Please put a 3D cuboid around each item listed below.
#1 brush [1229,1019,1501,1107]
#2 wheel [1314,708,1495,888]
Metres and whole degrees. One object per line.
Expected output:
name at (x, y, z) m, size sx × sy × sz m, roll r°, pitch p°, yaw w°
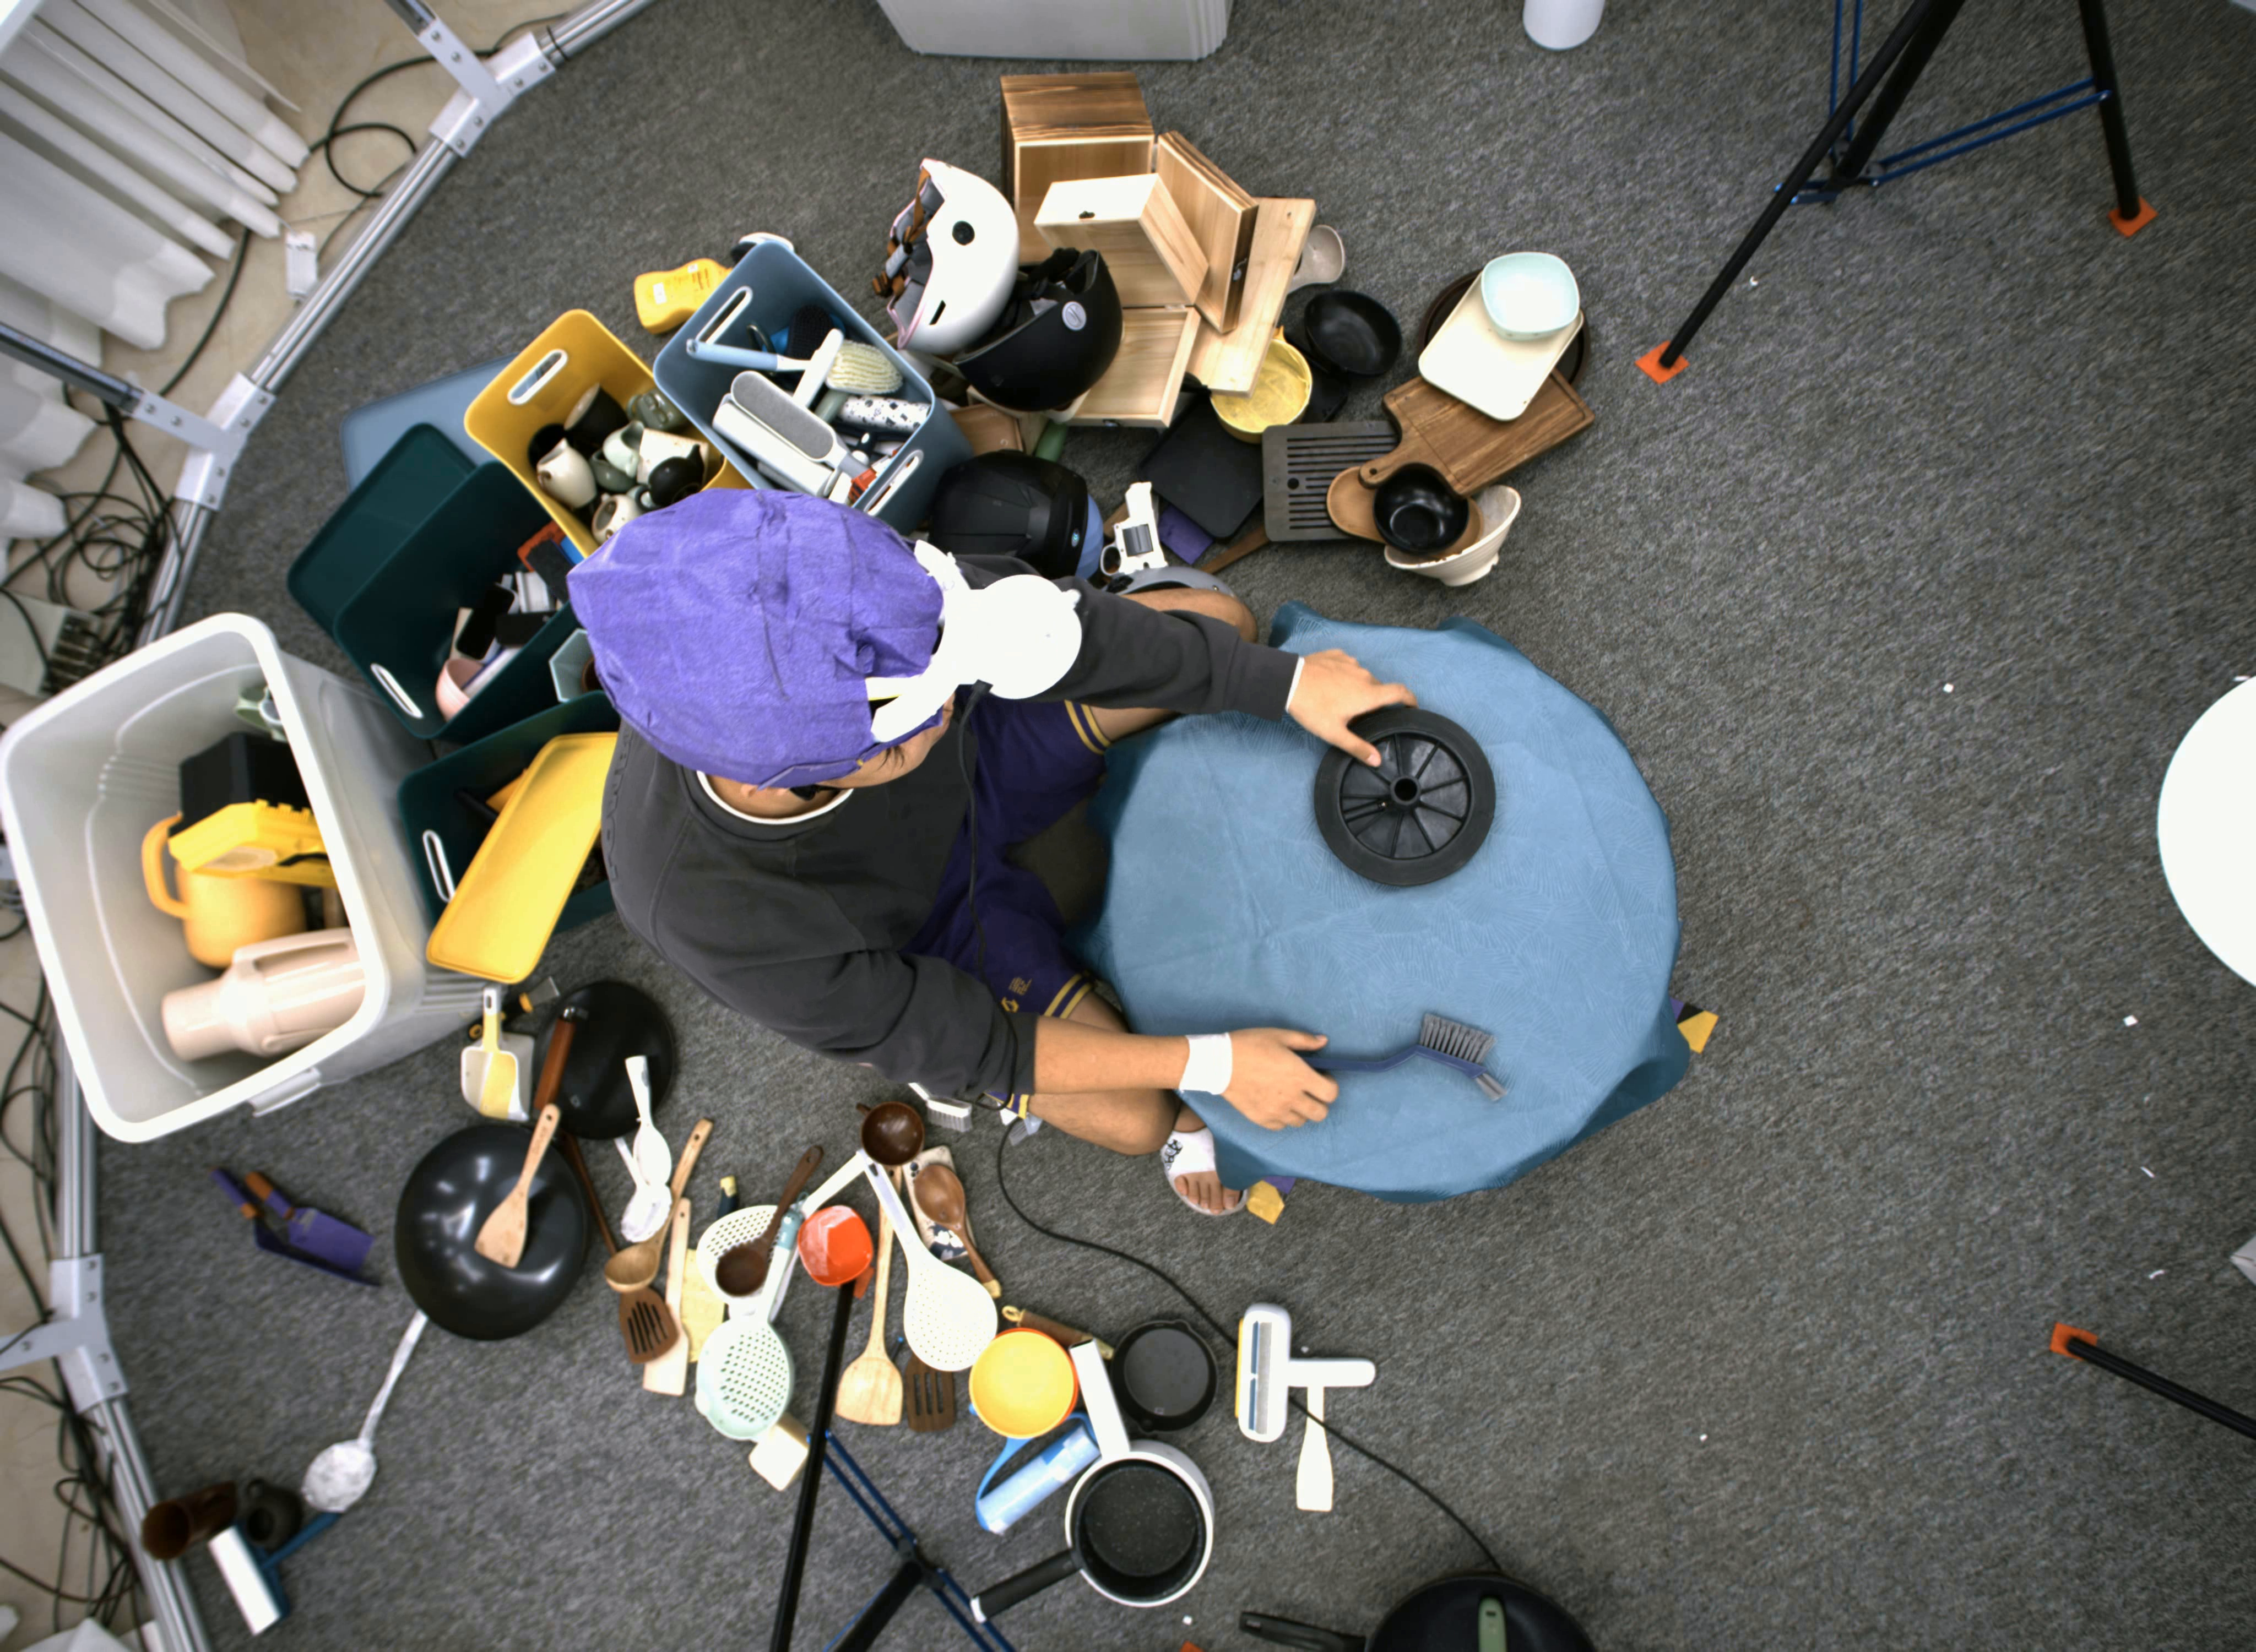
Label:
brush at (0.244, 0.253, 1.438) m, size 0.274 × 0.033 × 0.095 m, roll -7°, pitch 86°, yaw 9°
wheel at (0.285, -0.033, 1.424) m, size 0.191 × 0.079 × 0.186 m, roll -42°, pitch 81°, yaw 6°
